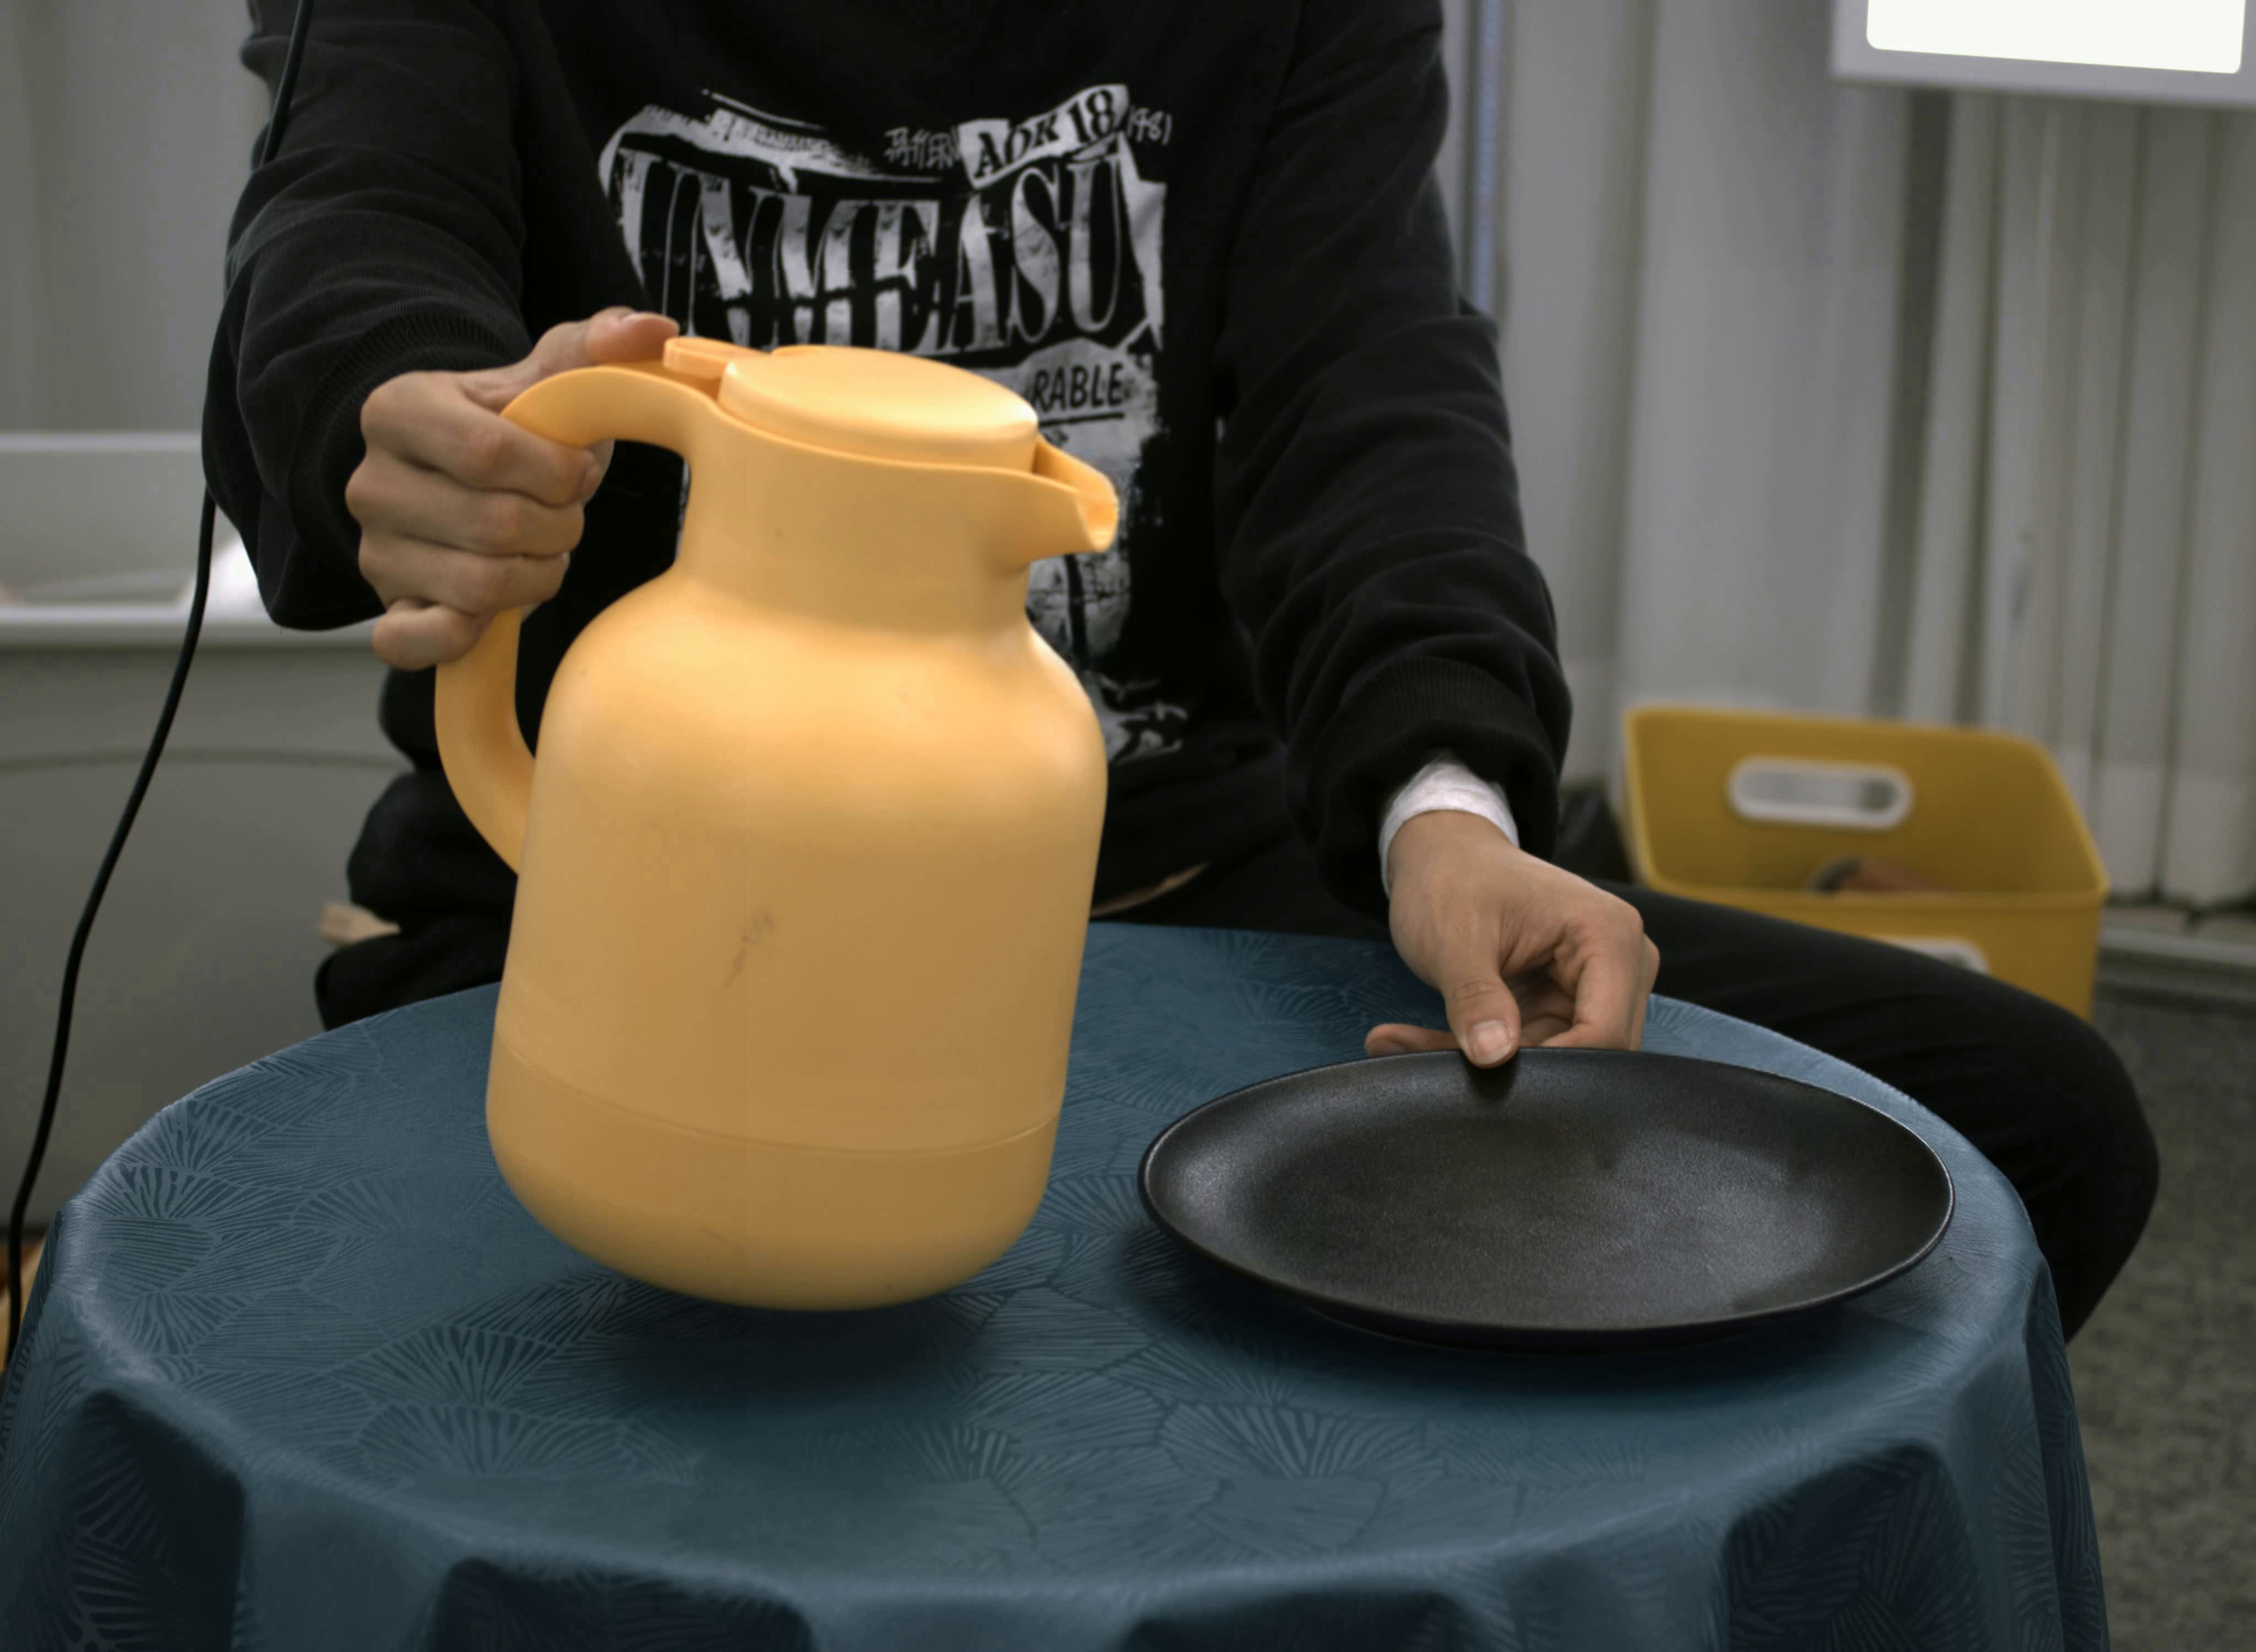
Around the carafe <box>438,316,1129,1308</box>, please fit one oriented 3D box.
[{"bbox_3d":[-0.104,-0.012,1.479,0.200,0.262,0.164,19,17,22],"label":"carafe"}]

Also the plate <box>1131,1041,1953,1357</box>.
[{"bbox_3d":[0.123,0.114,1.570,0.243,0.023,0.243,1,17,0],"label":"plate"}]
